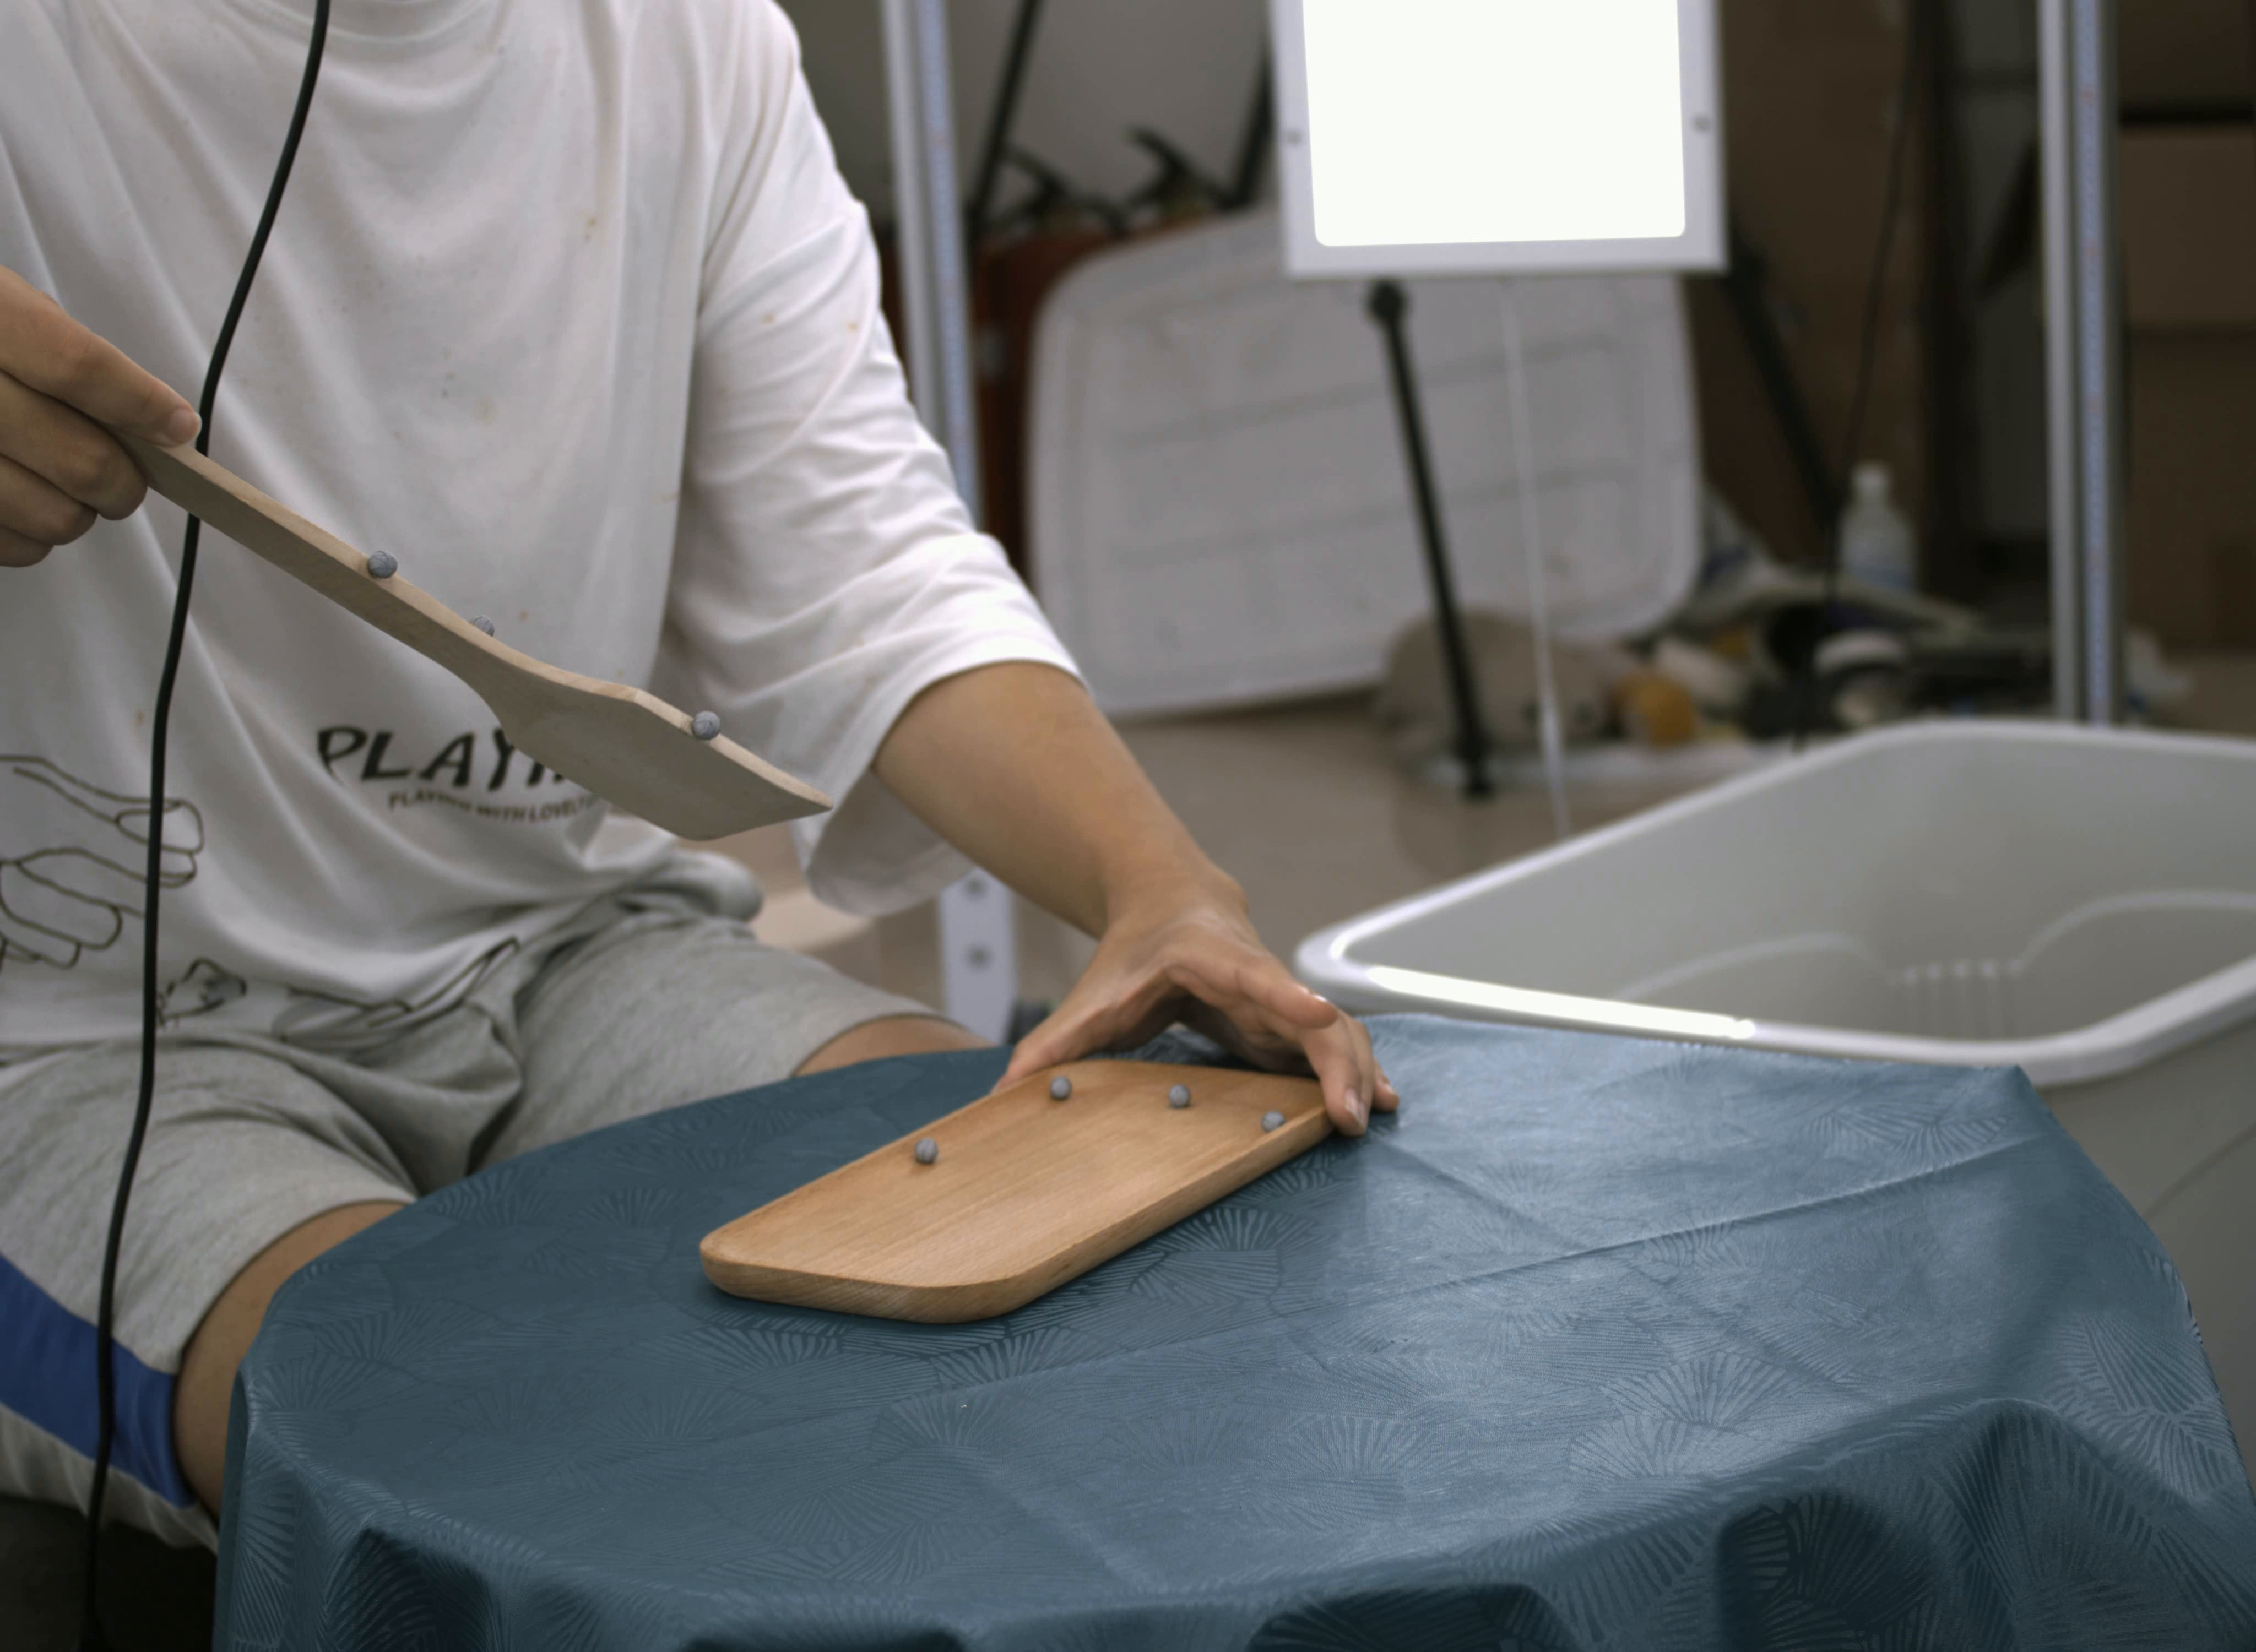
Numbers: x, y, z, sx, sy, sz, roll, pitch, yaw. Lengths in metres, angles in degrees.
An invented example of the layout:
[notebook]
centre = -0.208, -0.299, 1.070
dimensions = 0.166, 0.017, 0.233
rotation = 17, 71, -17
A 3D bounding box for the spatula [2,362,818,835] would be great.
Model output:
[spatula]
centre = -0.218, -0.066, 1.672
dimensions = 0.288, 0.010, 0.074
rotation = 33, -28, -32

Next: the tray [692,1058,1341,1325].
[tray]
centre = -0.034, 0.124, 1.893
dimensions = 0.133, 0.023, 0.244
rotation = 1, 16, 36
